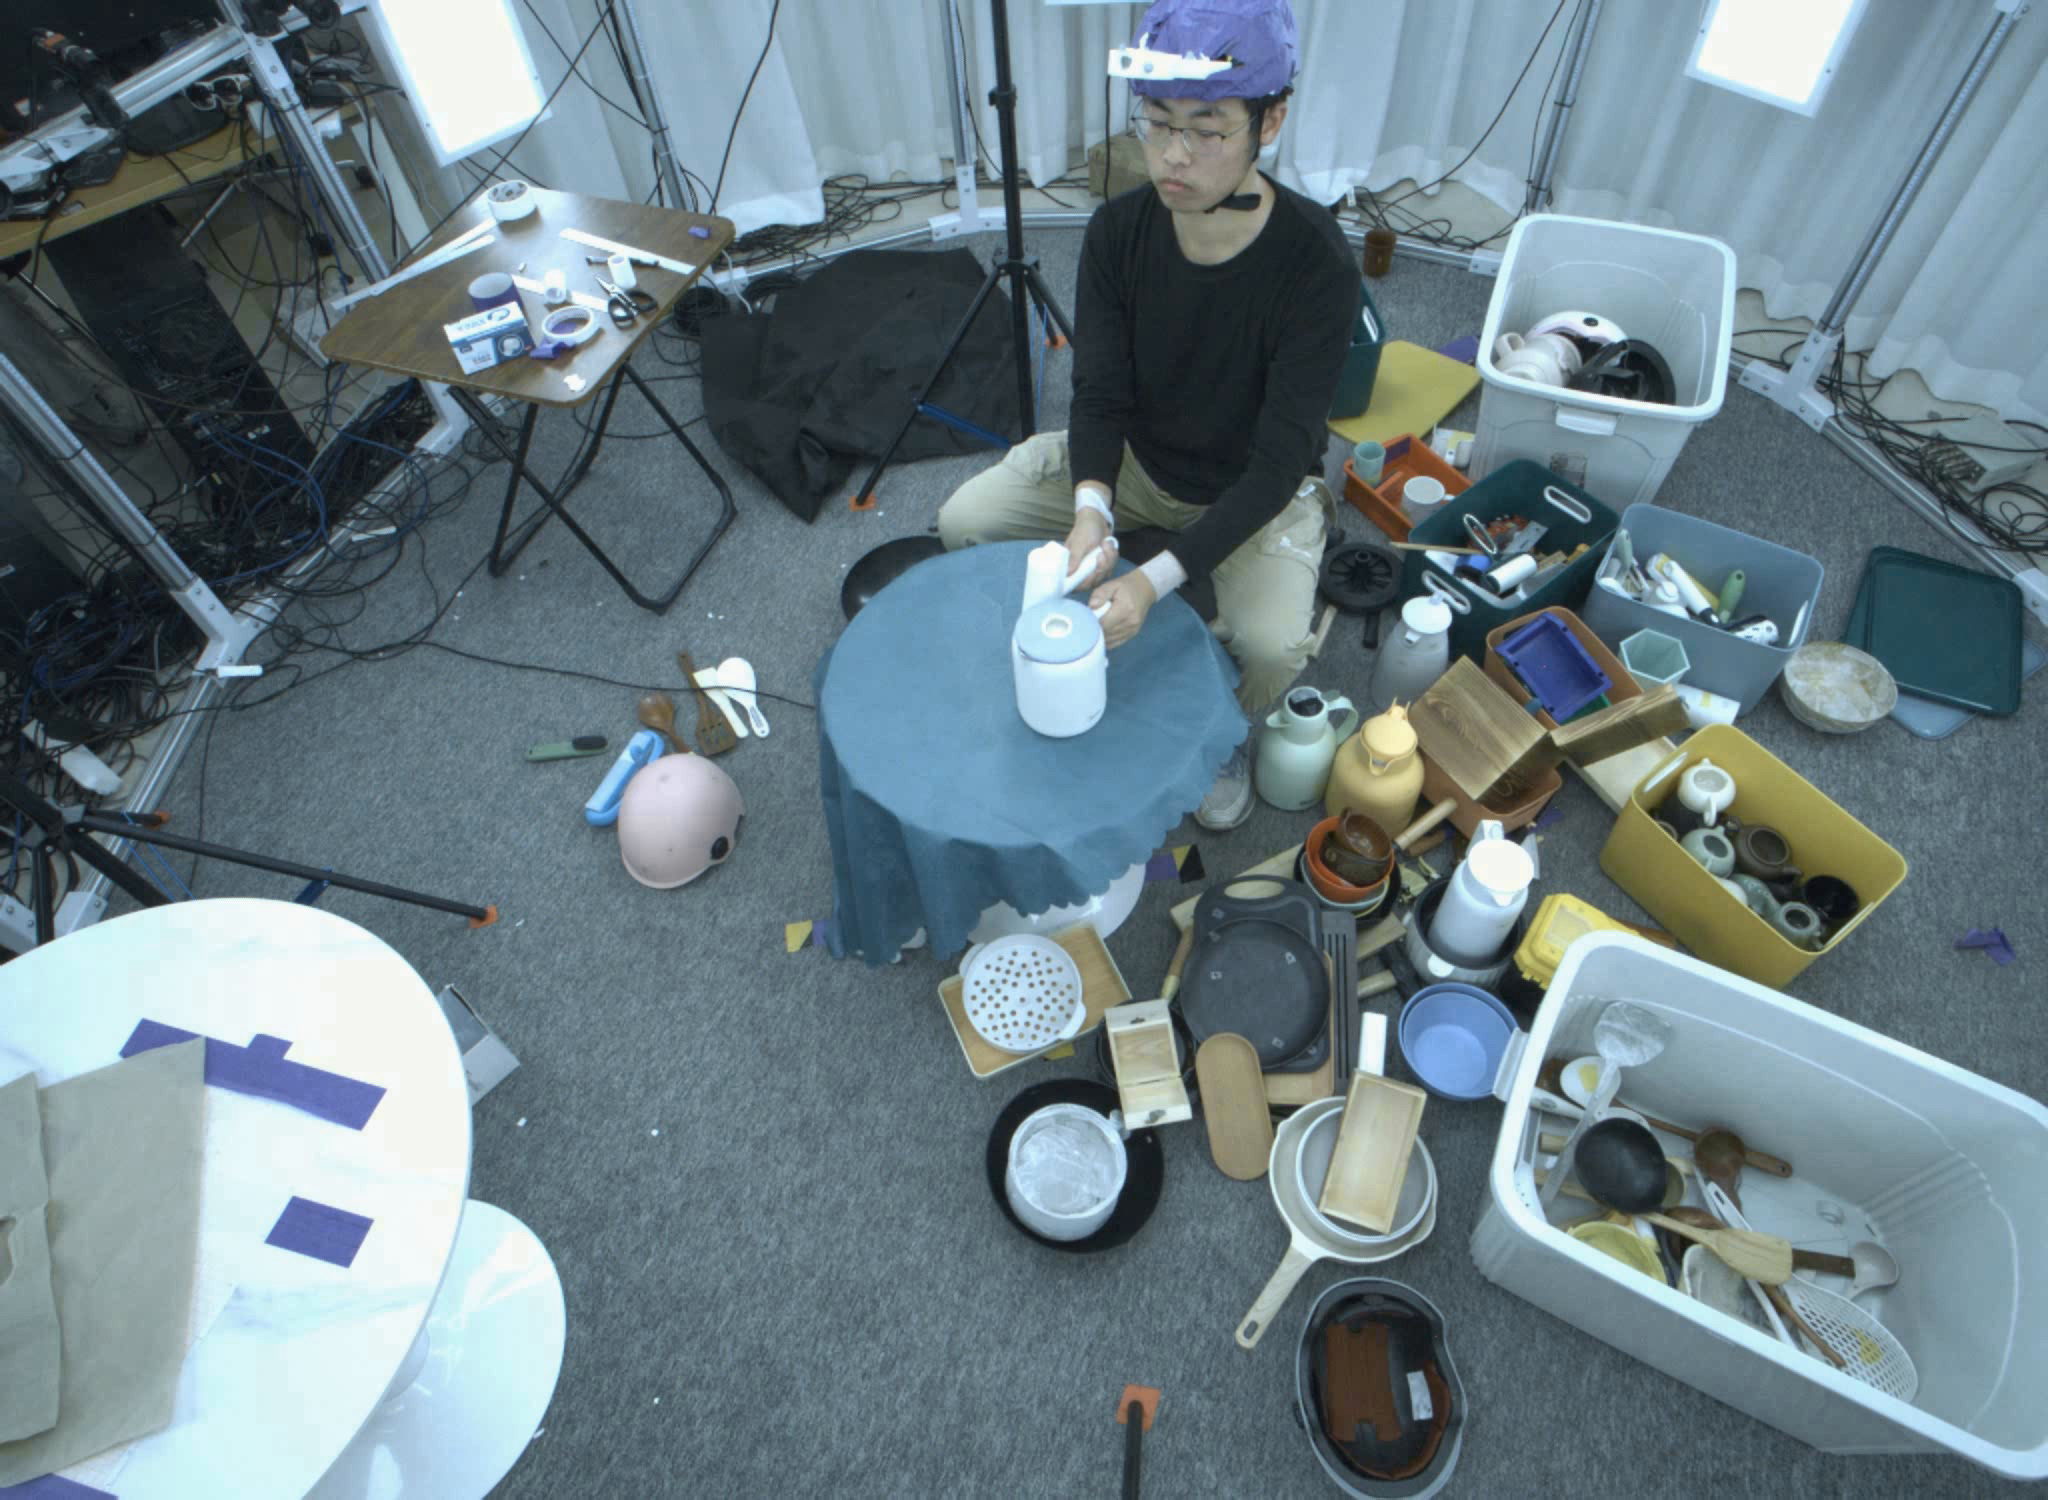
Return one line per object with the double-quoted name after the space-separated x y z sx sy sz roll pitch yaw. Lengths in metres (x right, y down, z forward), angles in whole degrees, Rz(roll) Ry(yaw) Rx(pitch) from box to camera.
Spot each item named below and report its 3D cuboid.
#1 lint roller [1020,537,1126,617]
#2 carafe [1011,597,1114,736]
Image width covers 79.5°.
0.073 -0.259 1.832 0.047 0.204 0.227 33 54 21 "lint roller"
0.066 -0.133 1.774 0.130 0.184 0.192 35 61 24 "carafe"
